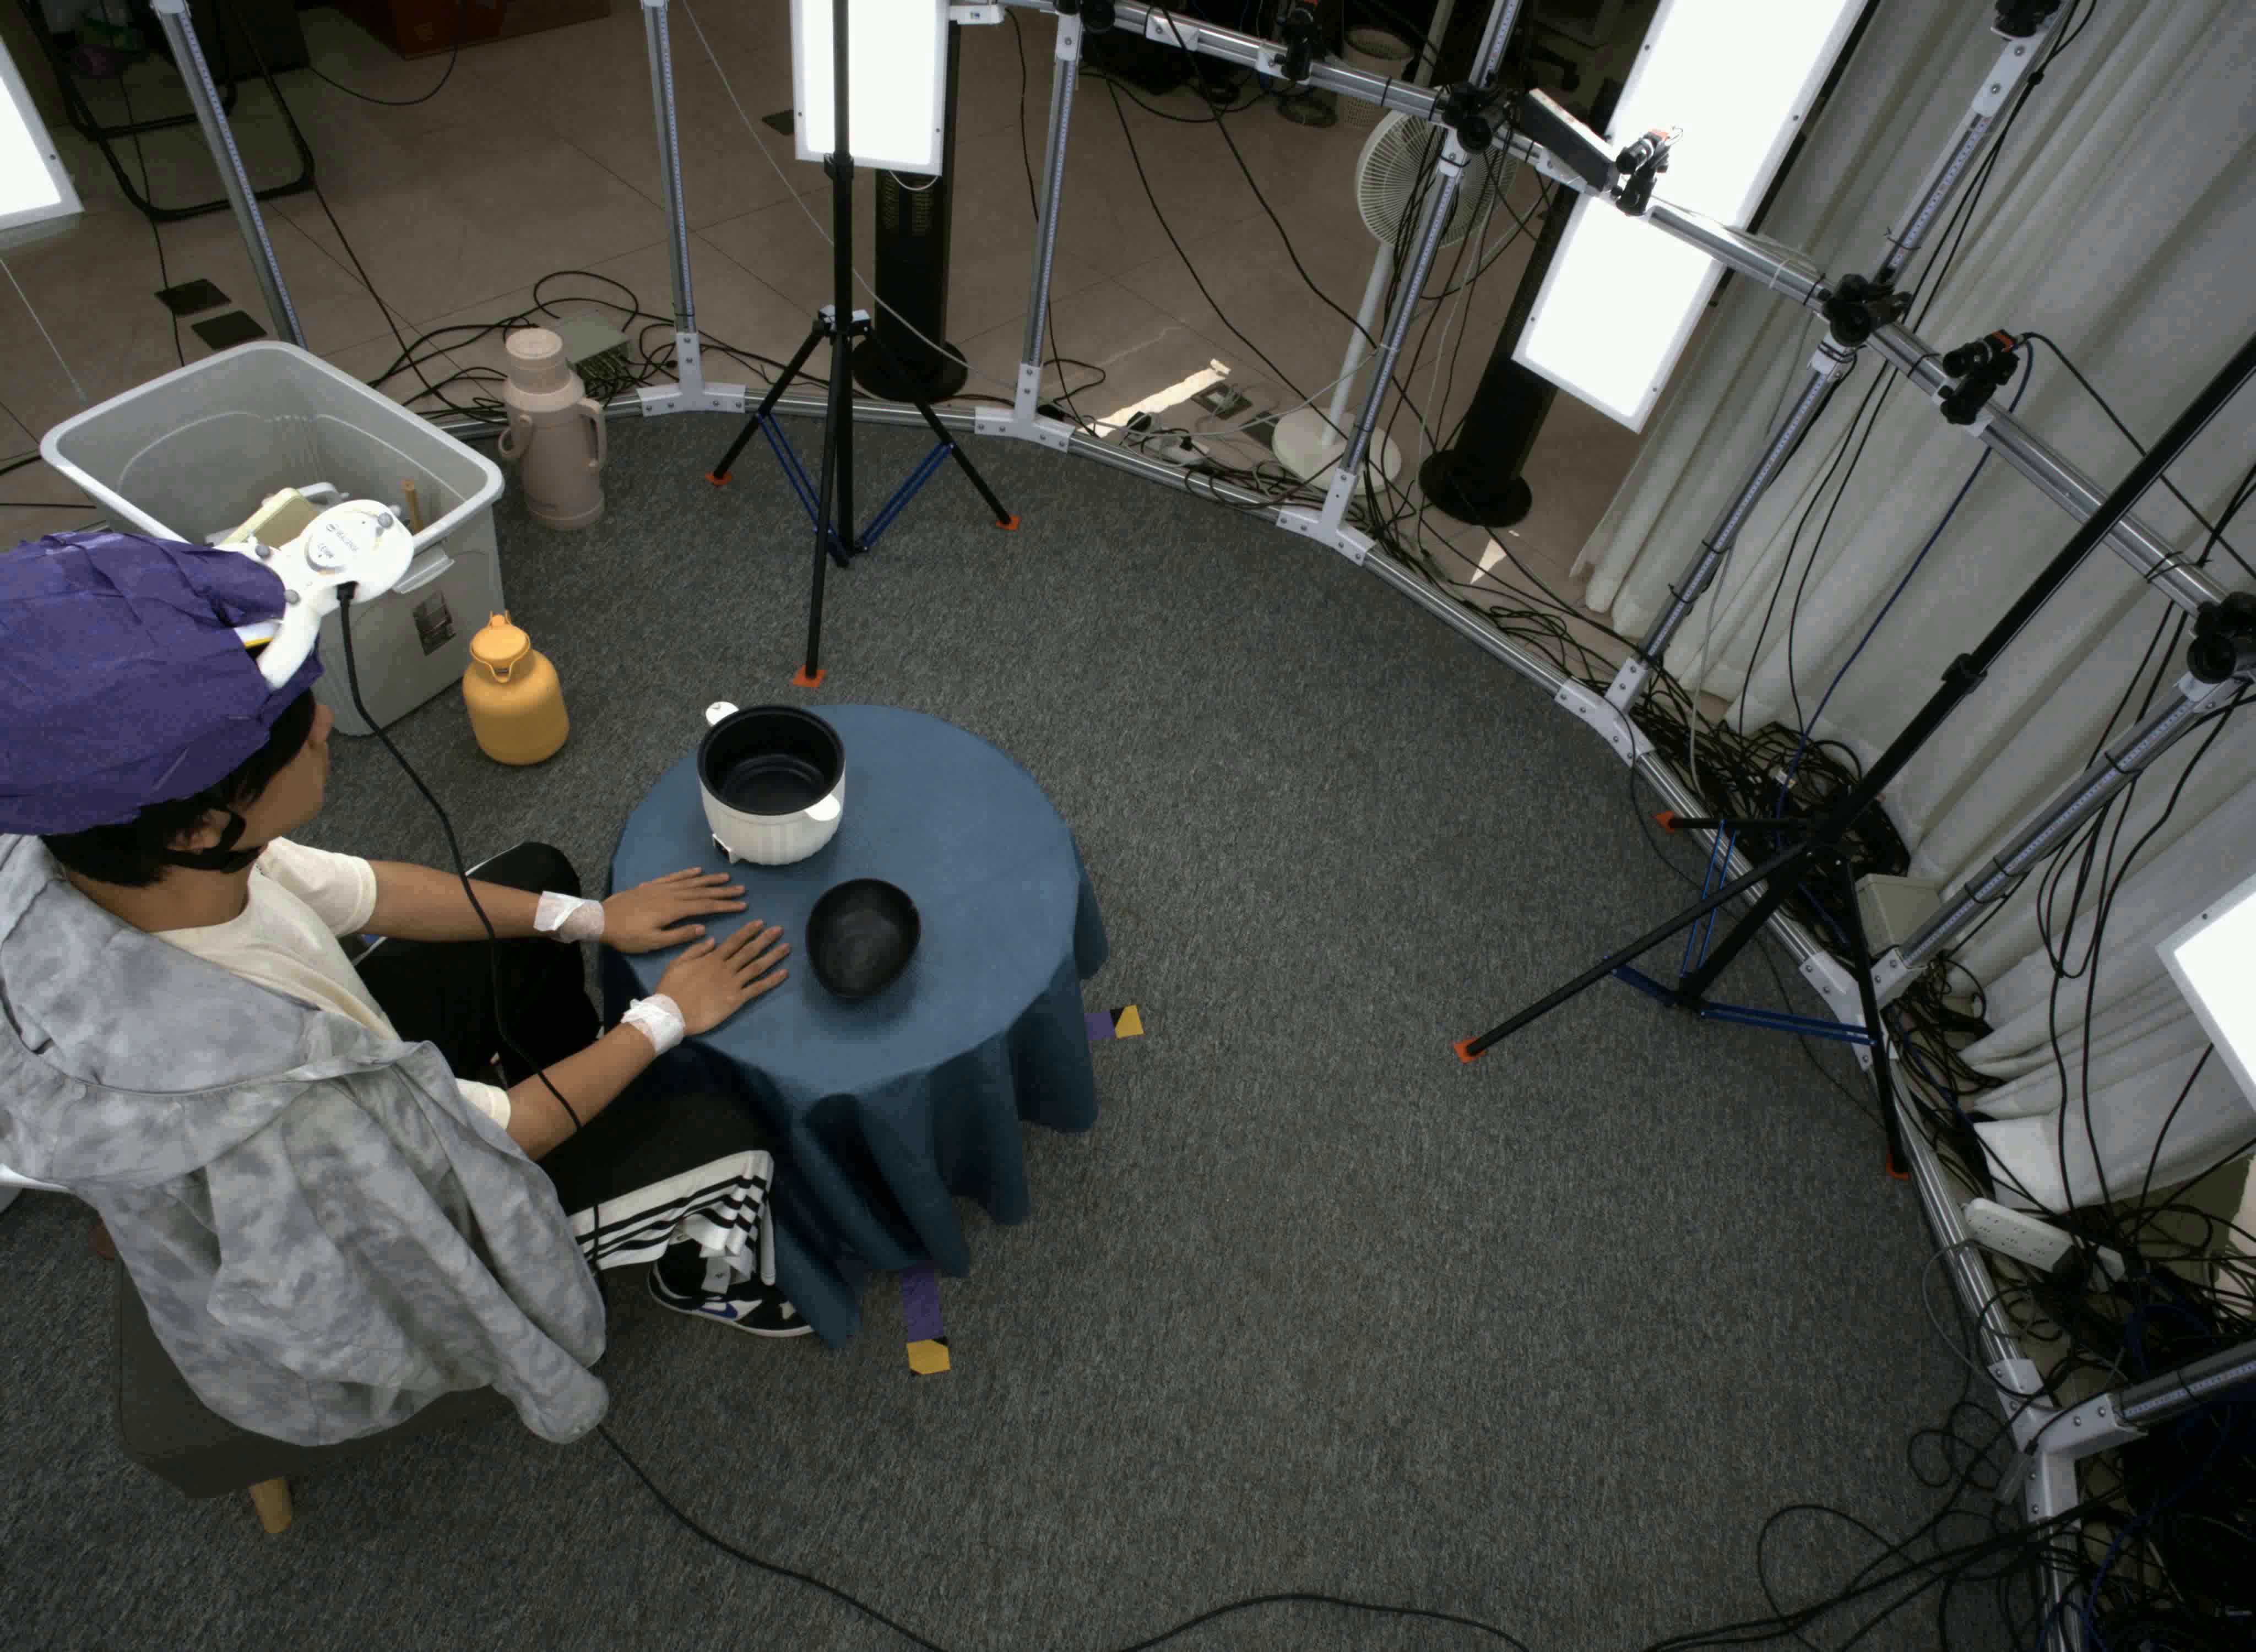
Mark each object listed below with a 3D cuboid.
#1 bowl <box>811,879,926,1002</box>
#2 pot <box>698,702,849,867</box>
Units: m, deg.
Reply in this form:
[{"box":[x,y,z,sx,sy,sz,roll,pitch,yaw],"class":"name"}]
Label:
[{"box":[-0.319,0.148,1.601,0.136,0.068,0.167,9,53,-5],"class":"bowl"},{"box":[-0.447,-0.050,1.669,0.235,0.145,0.190,40,59,16],"class":"pot"}]
